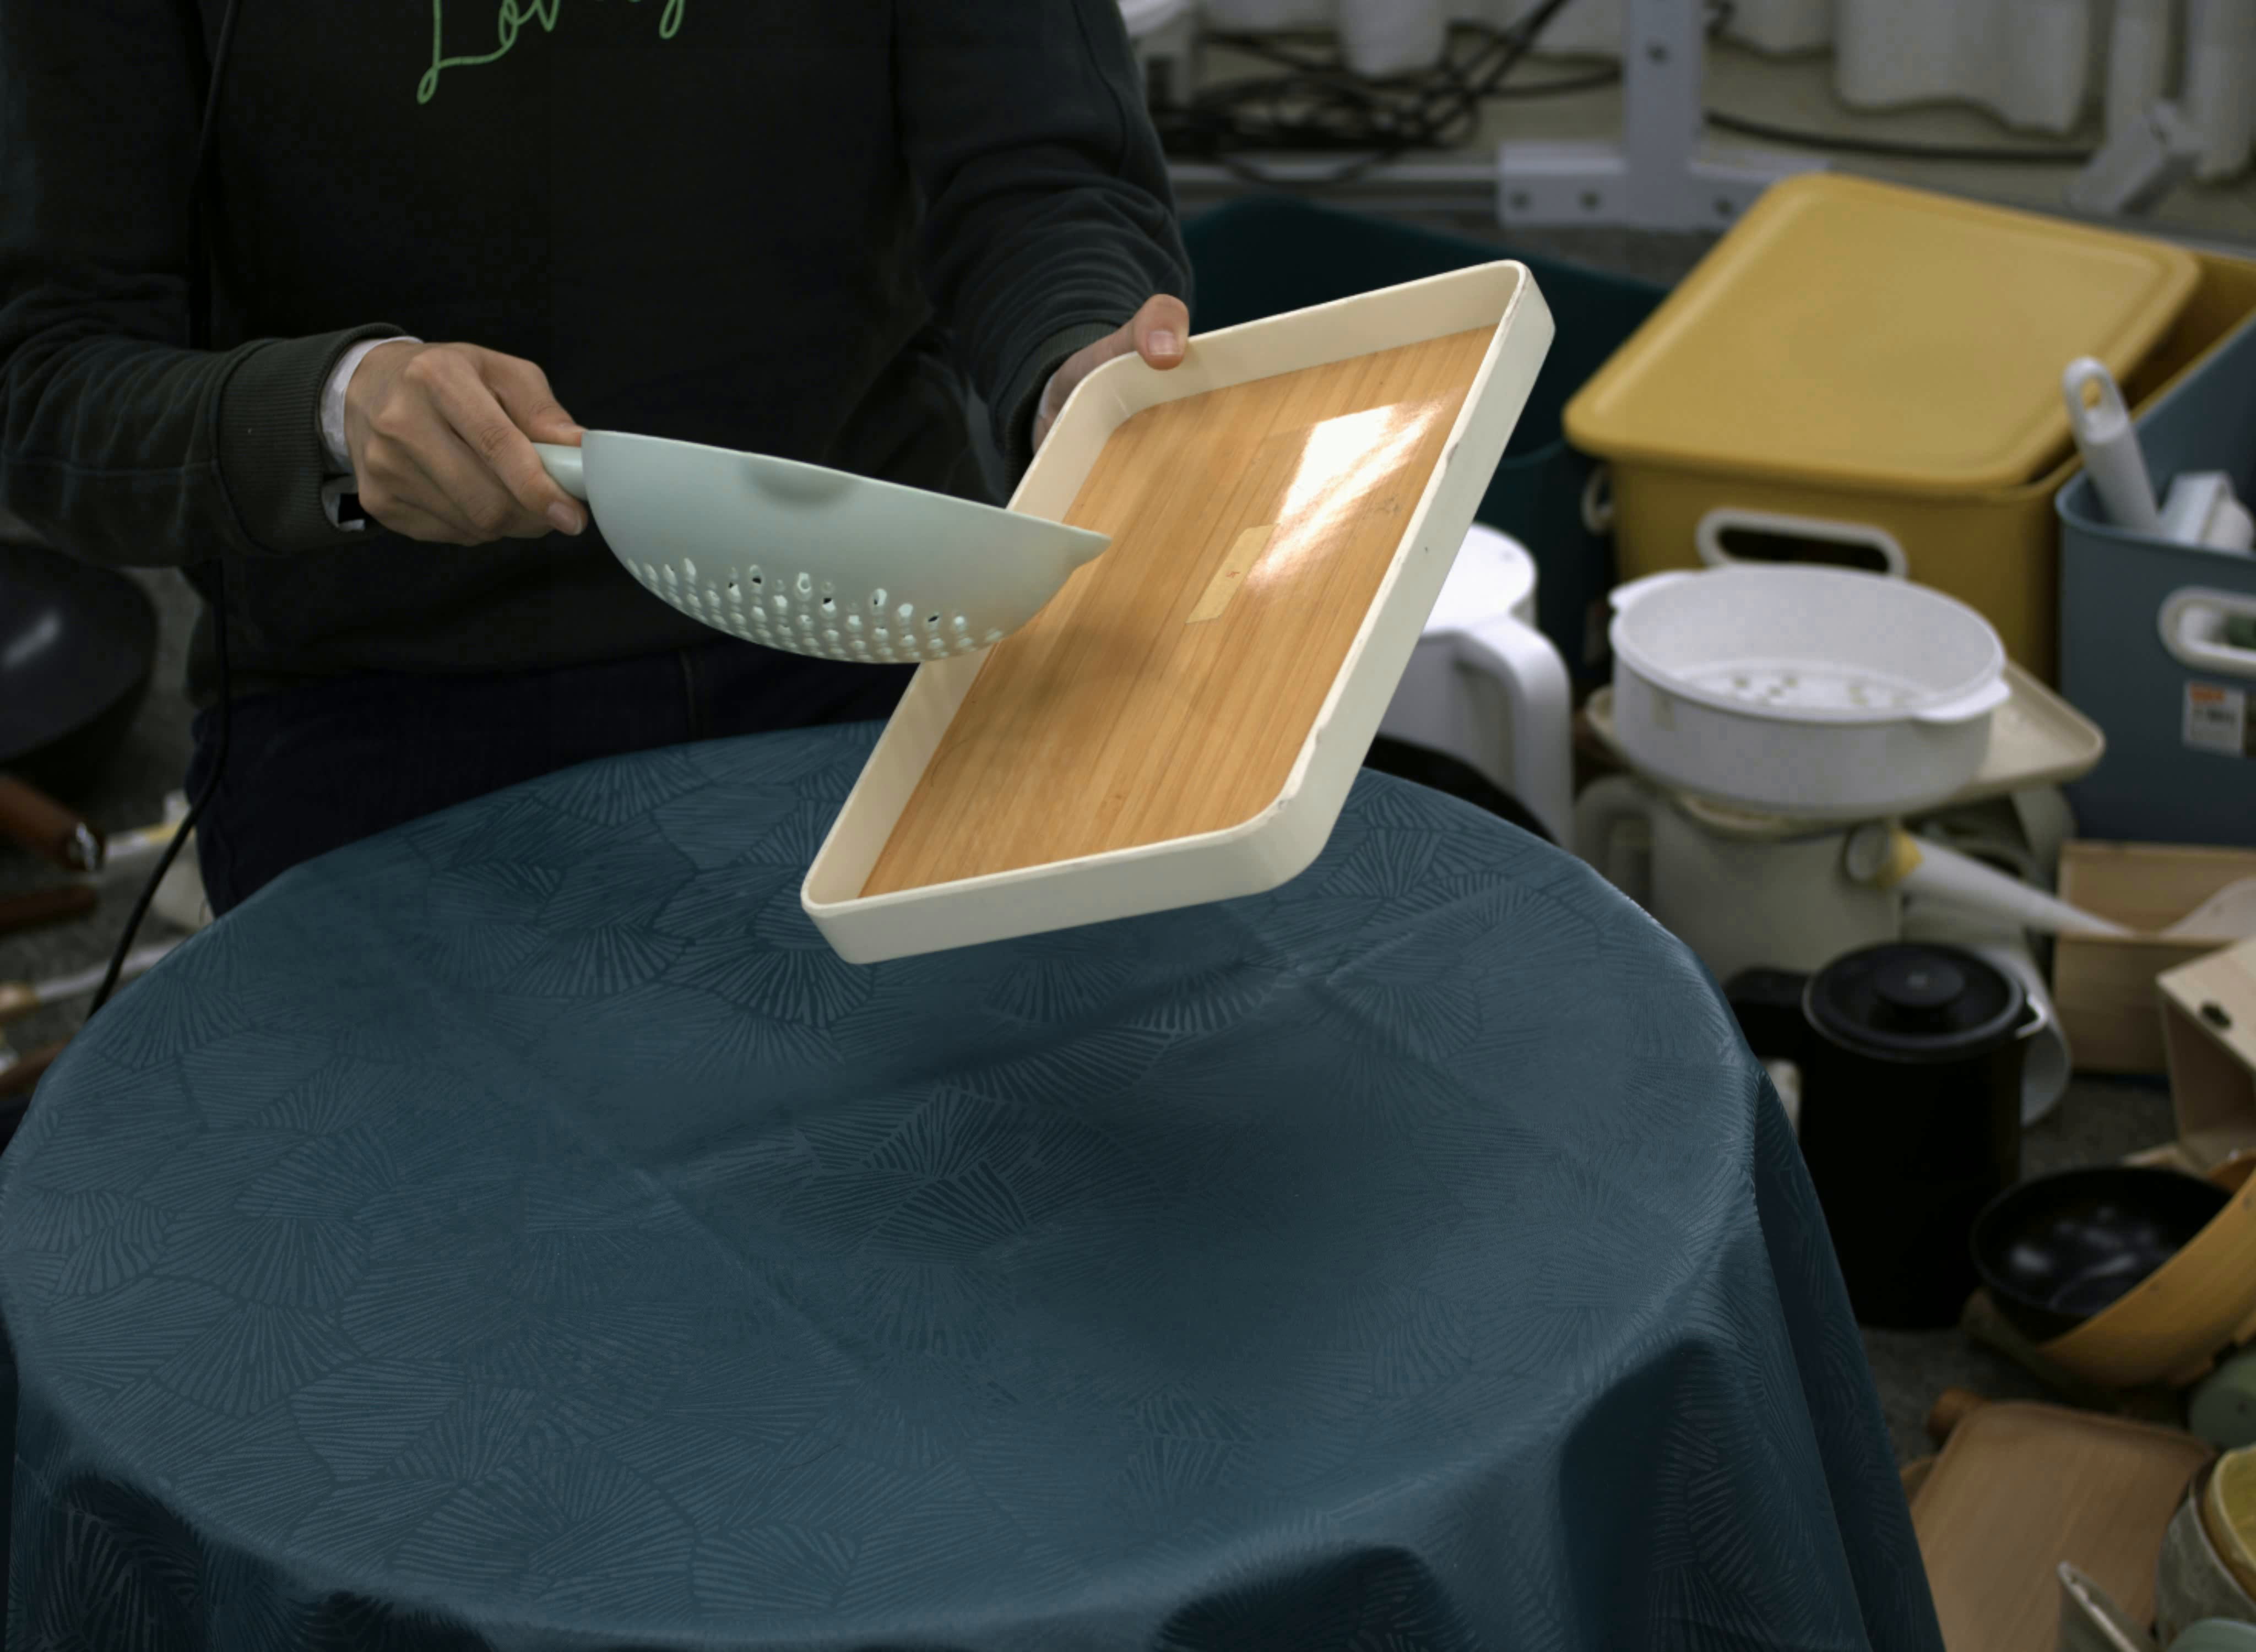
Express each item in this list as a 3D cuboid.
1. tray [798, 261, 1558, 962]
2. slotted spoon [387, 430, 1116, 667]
[{"bbox_3d":[0.020,-0.074,1.863,0.189,0.027,0.306,-11,34,32],"label":"tray"},{"bbox_3d":[-0.156,-0.111,1.920,0.169,0.075,0.358,13,6,-38],"label":"slotted spoon"}]
